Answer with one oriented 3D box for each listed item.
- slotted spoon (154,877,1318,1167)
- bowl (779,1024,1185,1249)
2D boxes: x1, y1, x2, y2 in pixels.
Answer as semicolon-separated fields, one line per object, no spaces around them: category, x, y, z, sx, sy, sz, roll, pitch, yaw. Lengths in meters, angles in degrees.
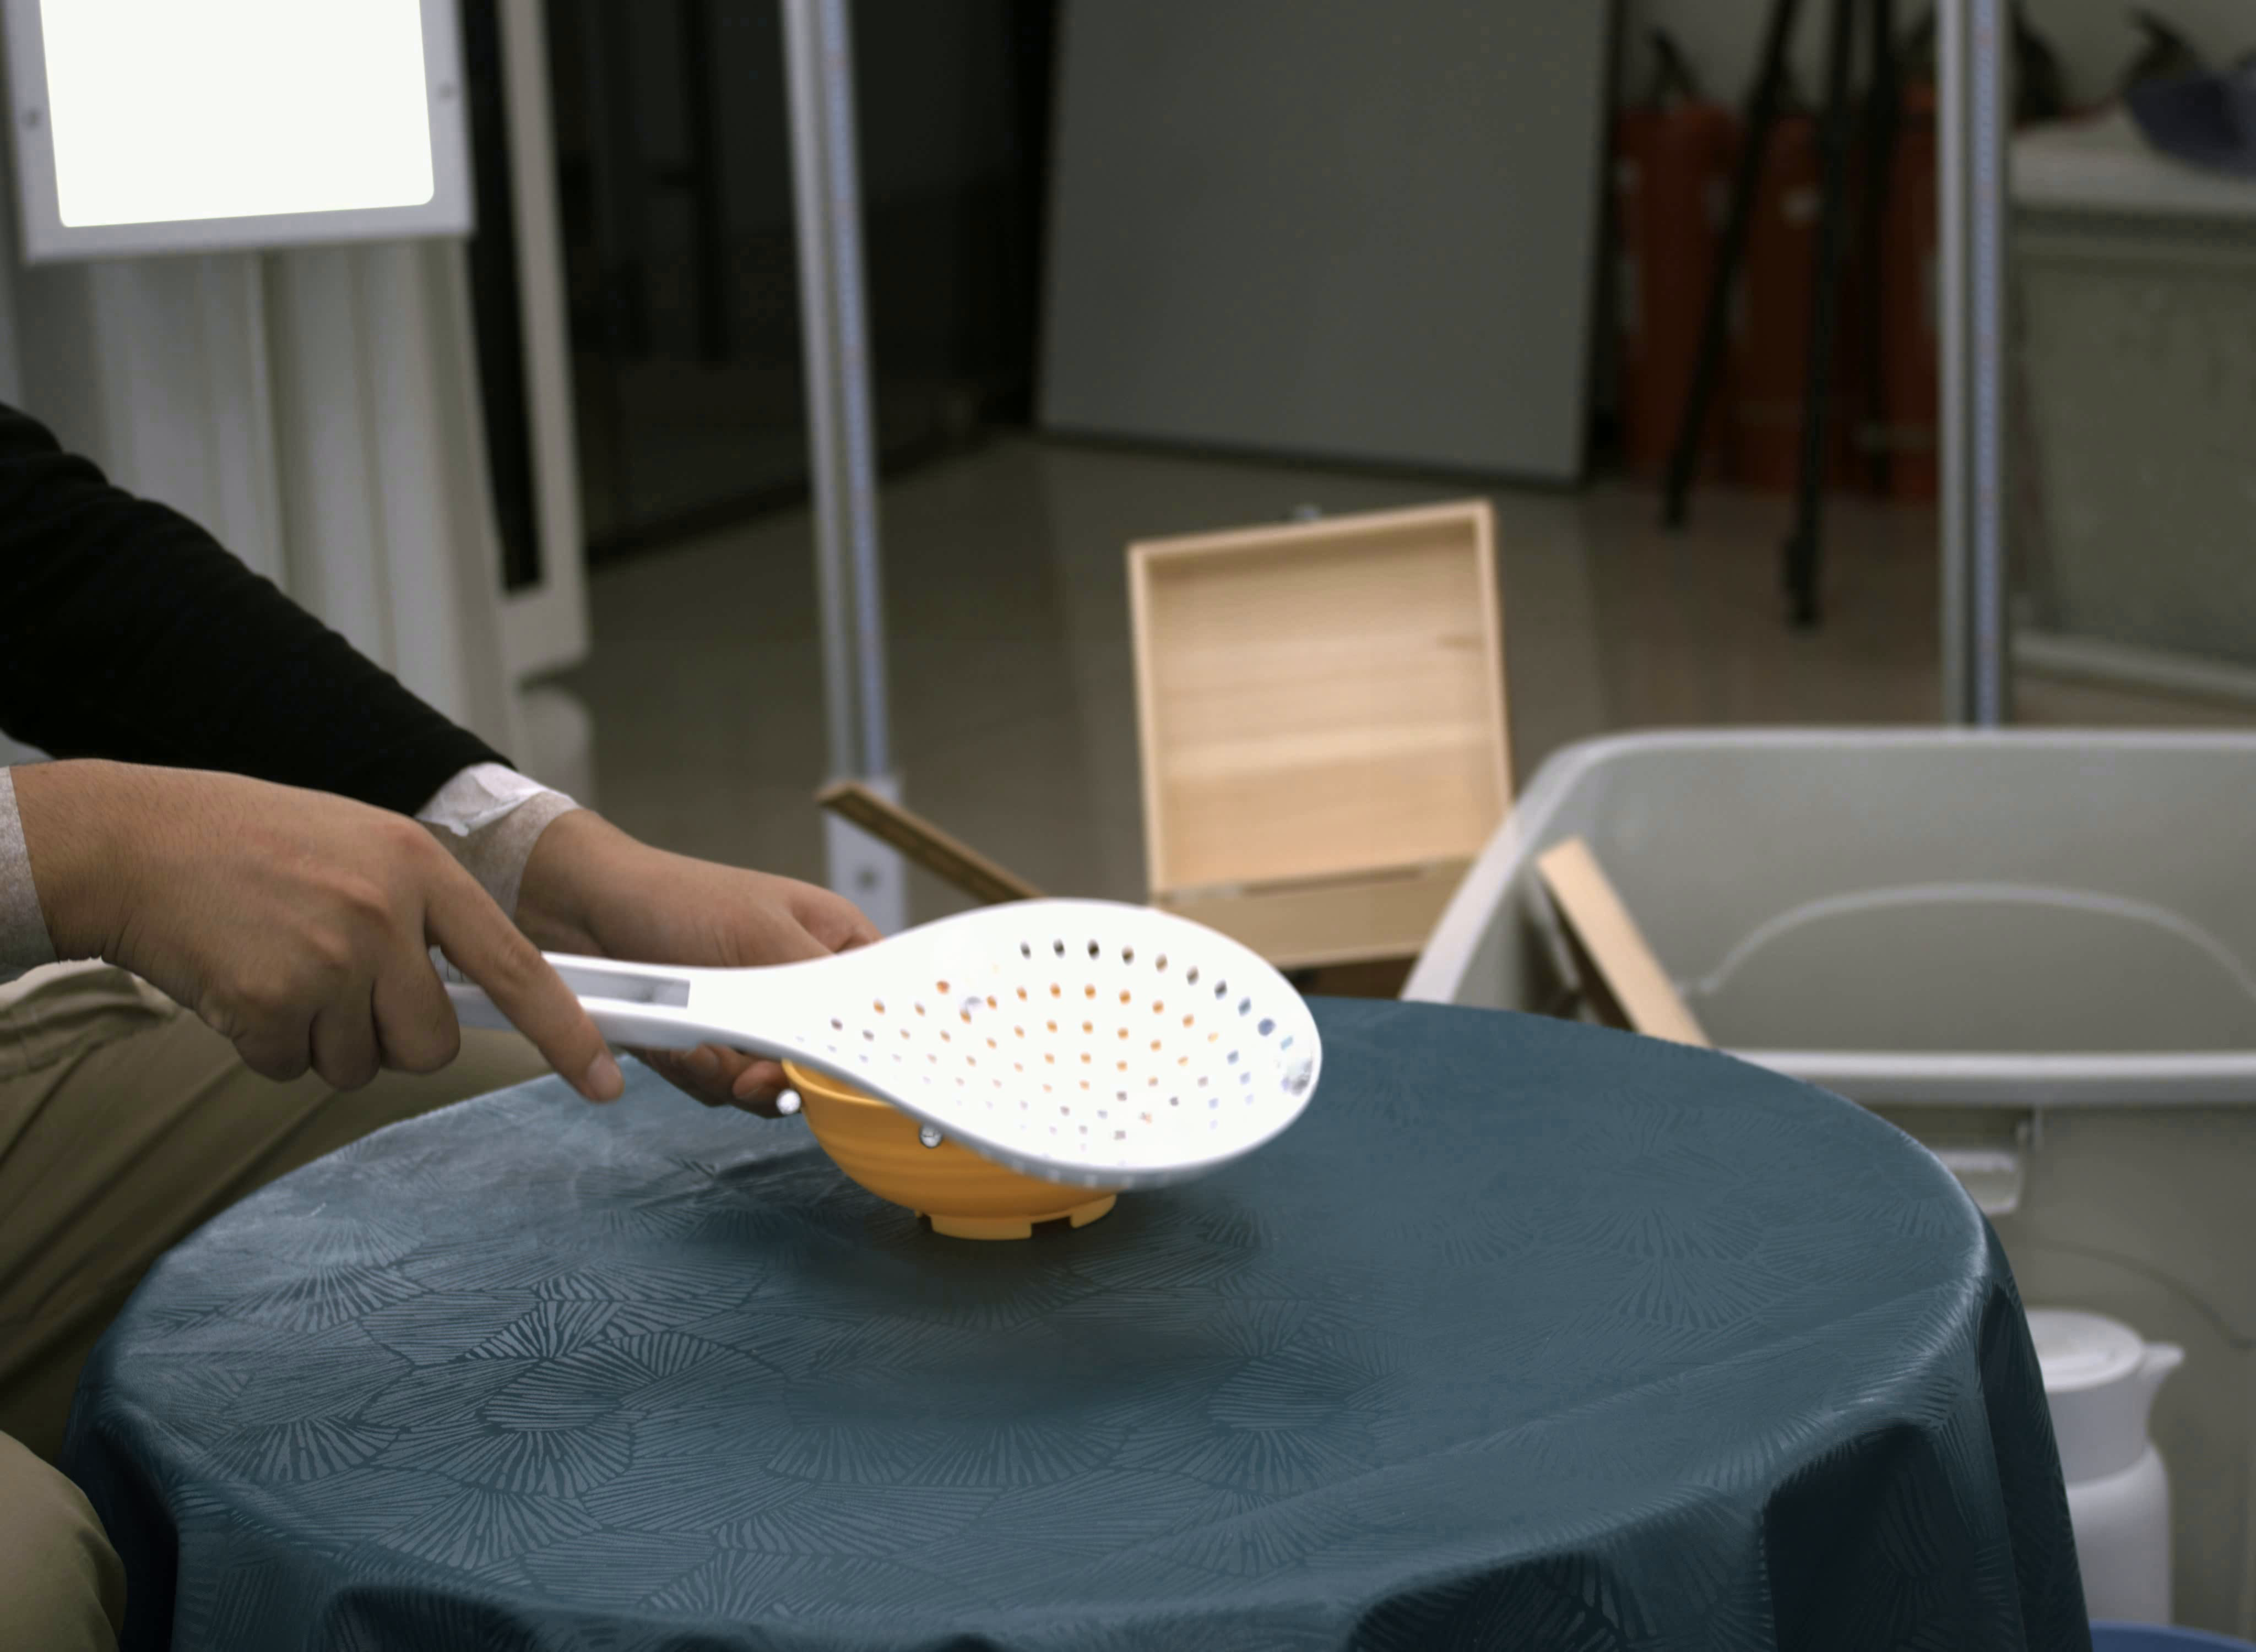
slotted spoon;-0.116;0.051;1.620;0.344;0.046;0.137;9;33;-5
bowl;-0.040;0.099;1.753;0.143;0.061;0.145;-3;13;0
